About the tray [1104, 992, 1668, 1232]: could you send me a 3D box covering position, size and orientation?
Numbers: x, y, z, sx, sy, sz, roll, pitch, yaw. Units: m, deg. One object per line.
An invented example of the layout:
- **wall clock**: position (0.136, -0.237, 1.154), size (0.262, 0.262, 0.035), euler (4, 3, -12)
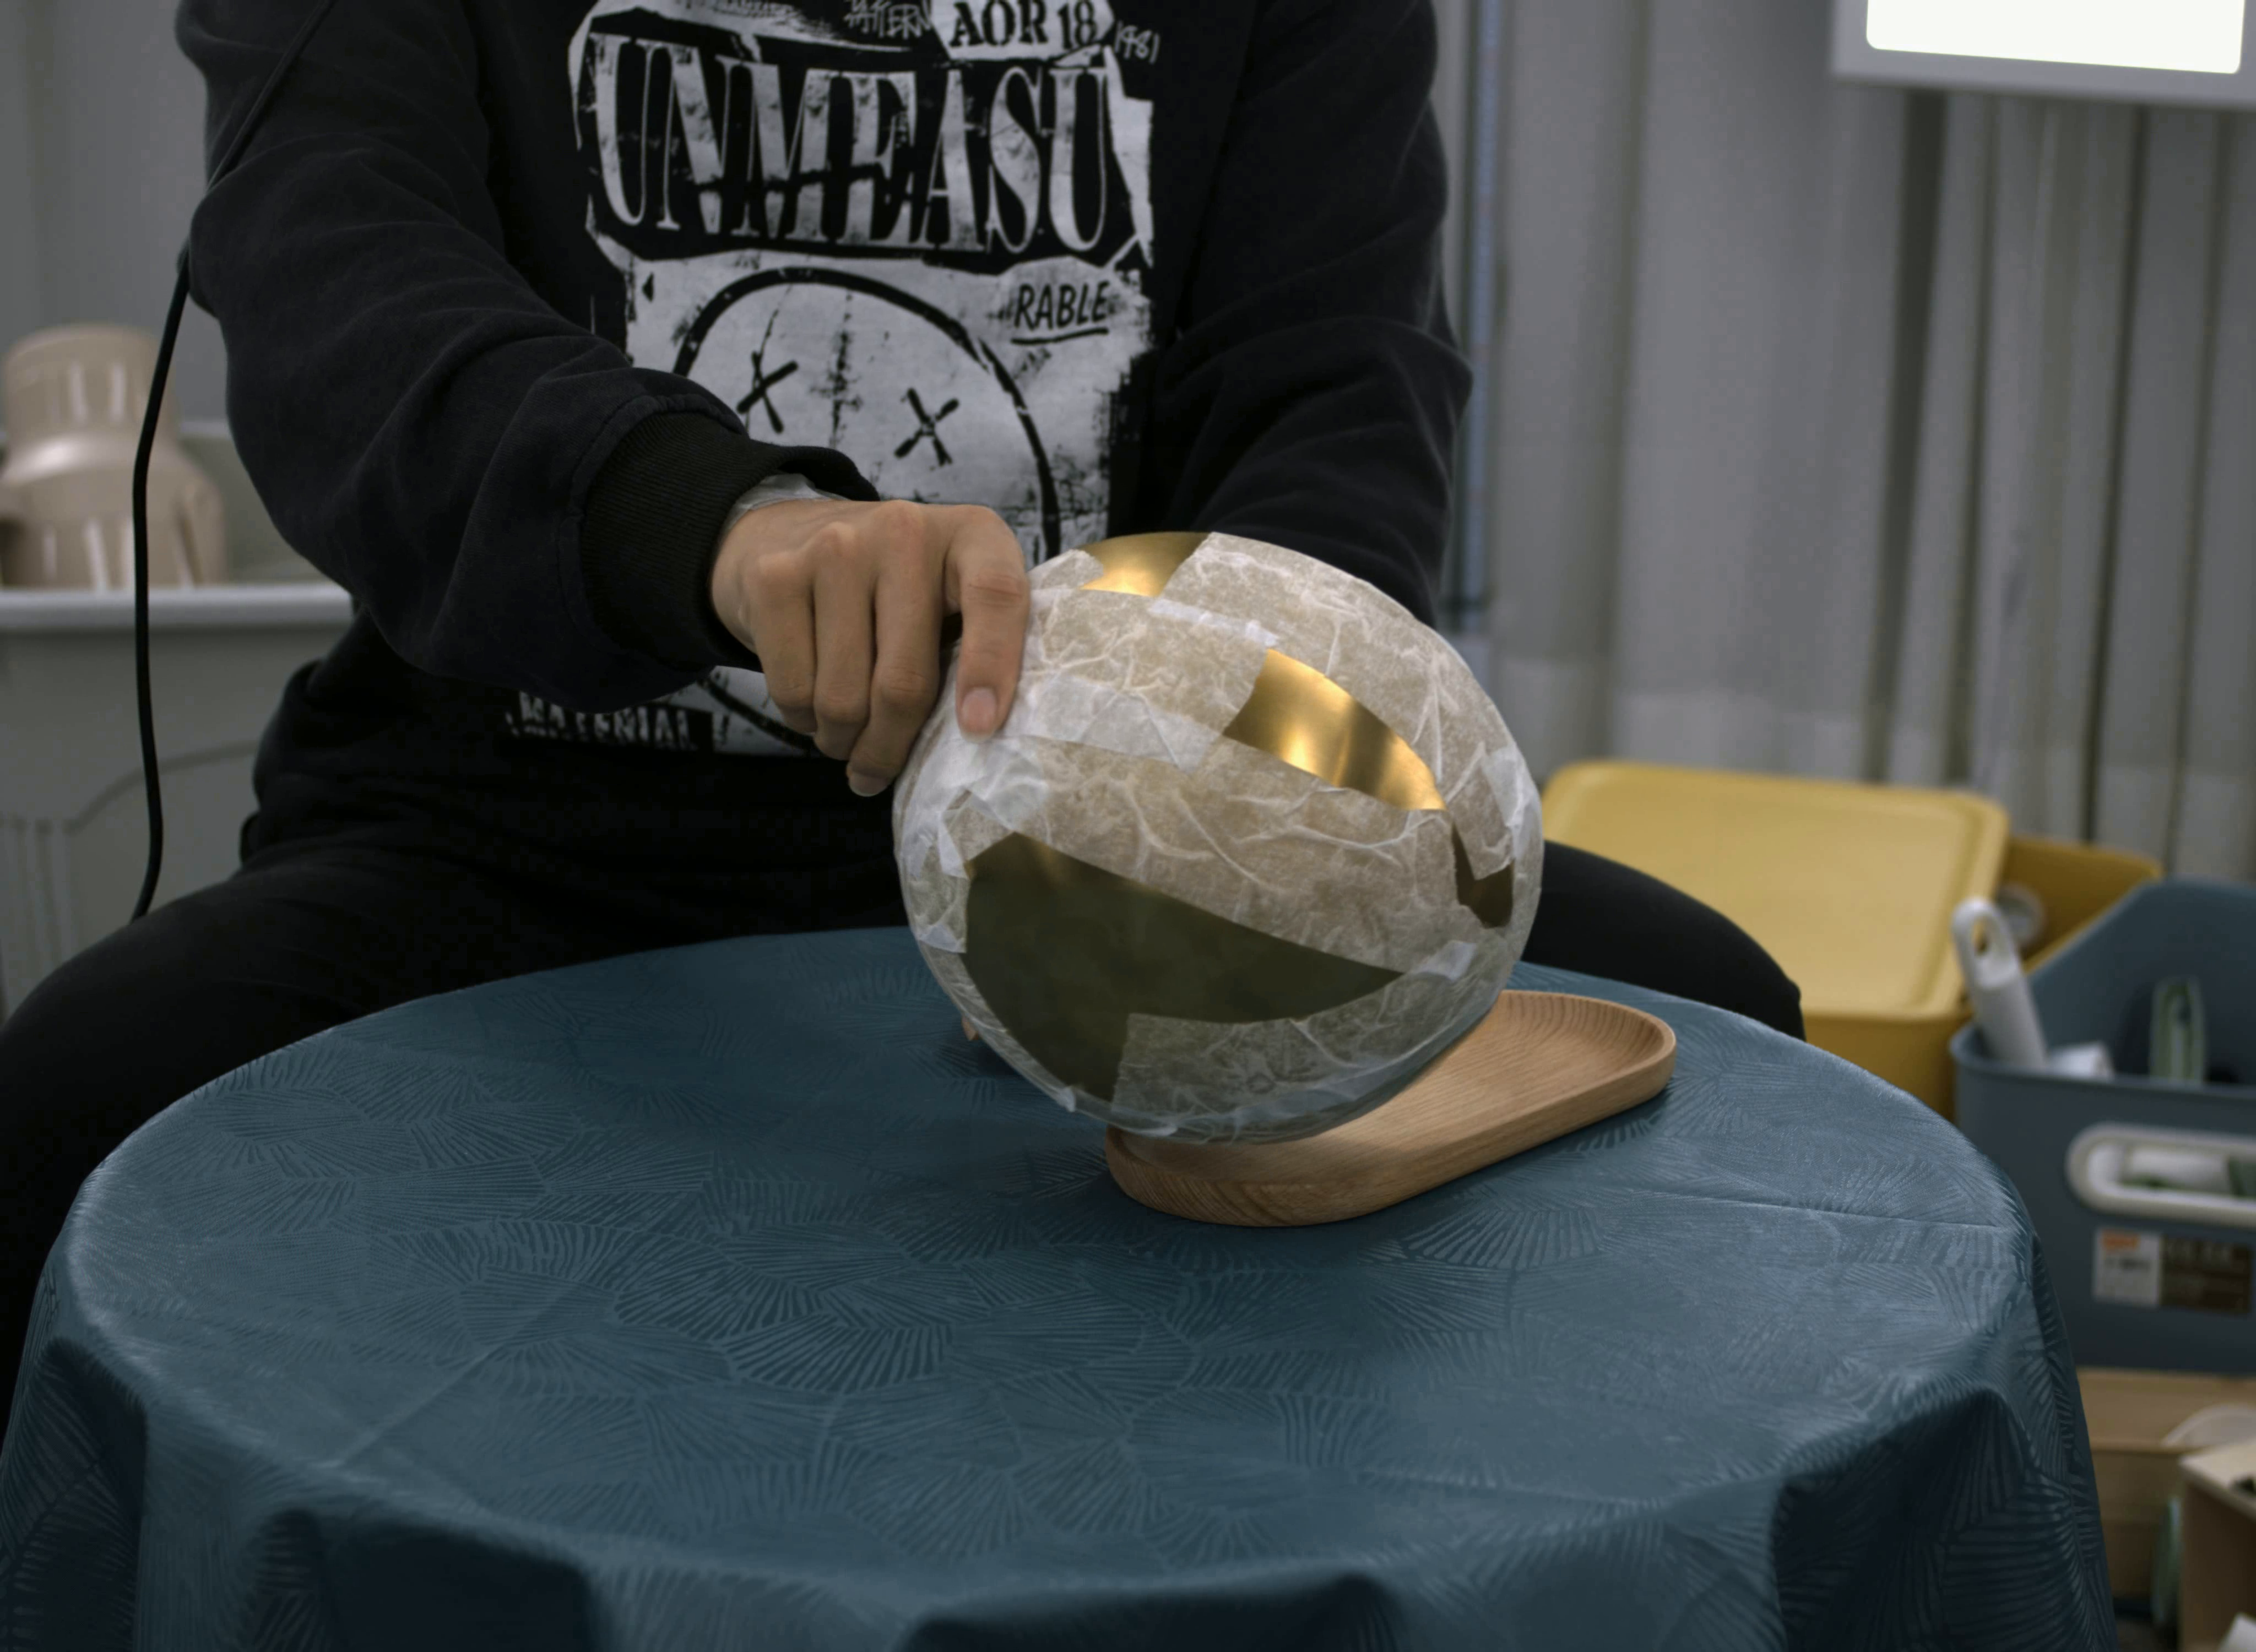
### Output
- **tray**: position (0.085, 0.090, 1.681), size (0.100, 0.020, 0.232), euler (11, 20, 38)

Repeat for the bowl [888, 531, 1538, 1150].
- **bowl**: position (0.013, 0.024, 1.575), size (0.213, 0.217, 0.094), euler (6, 34, 16)
